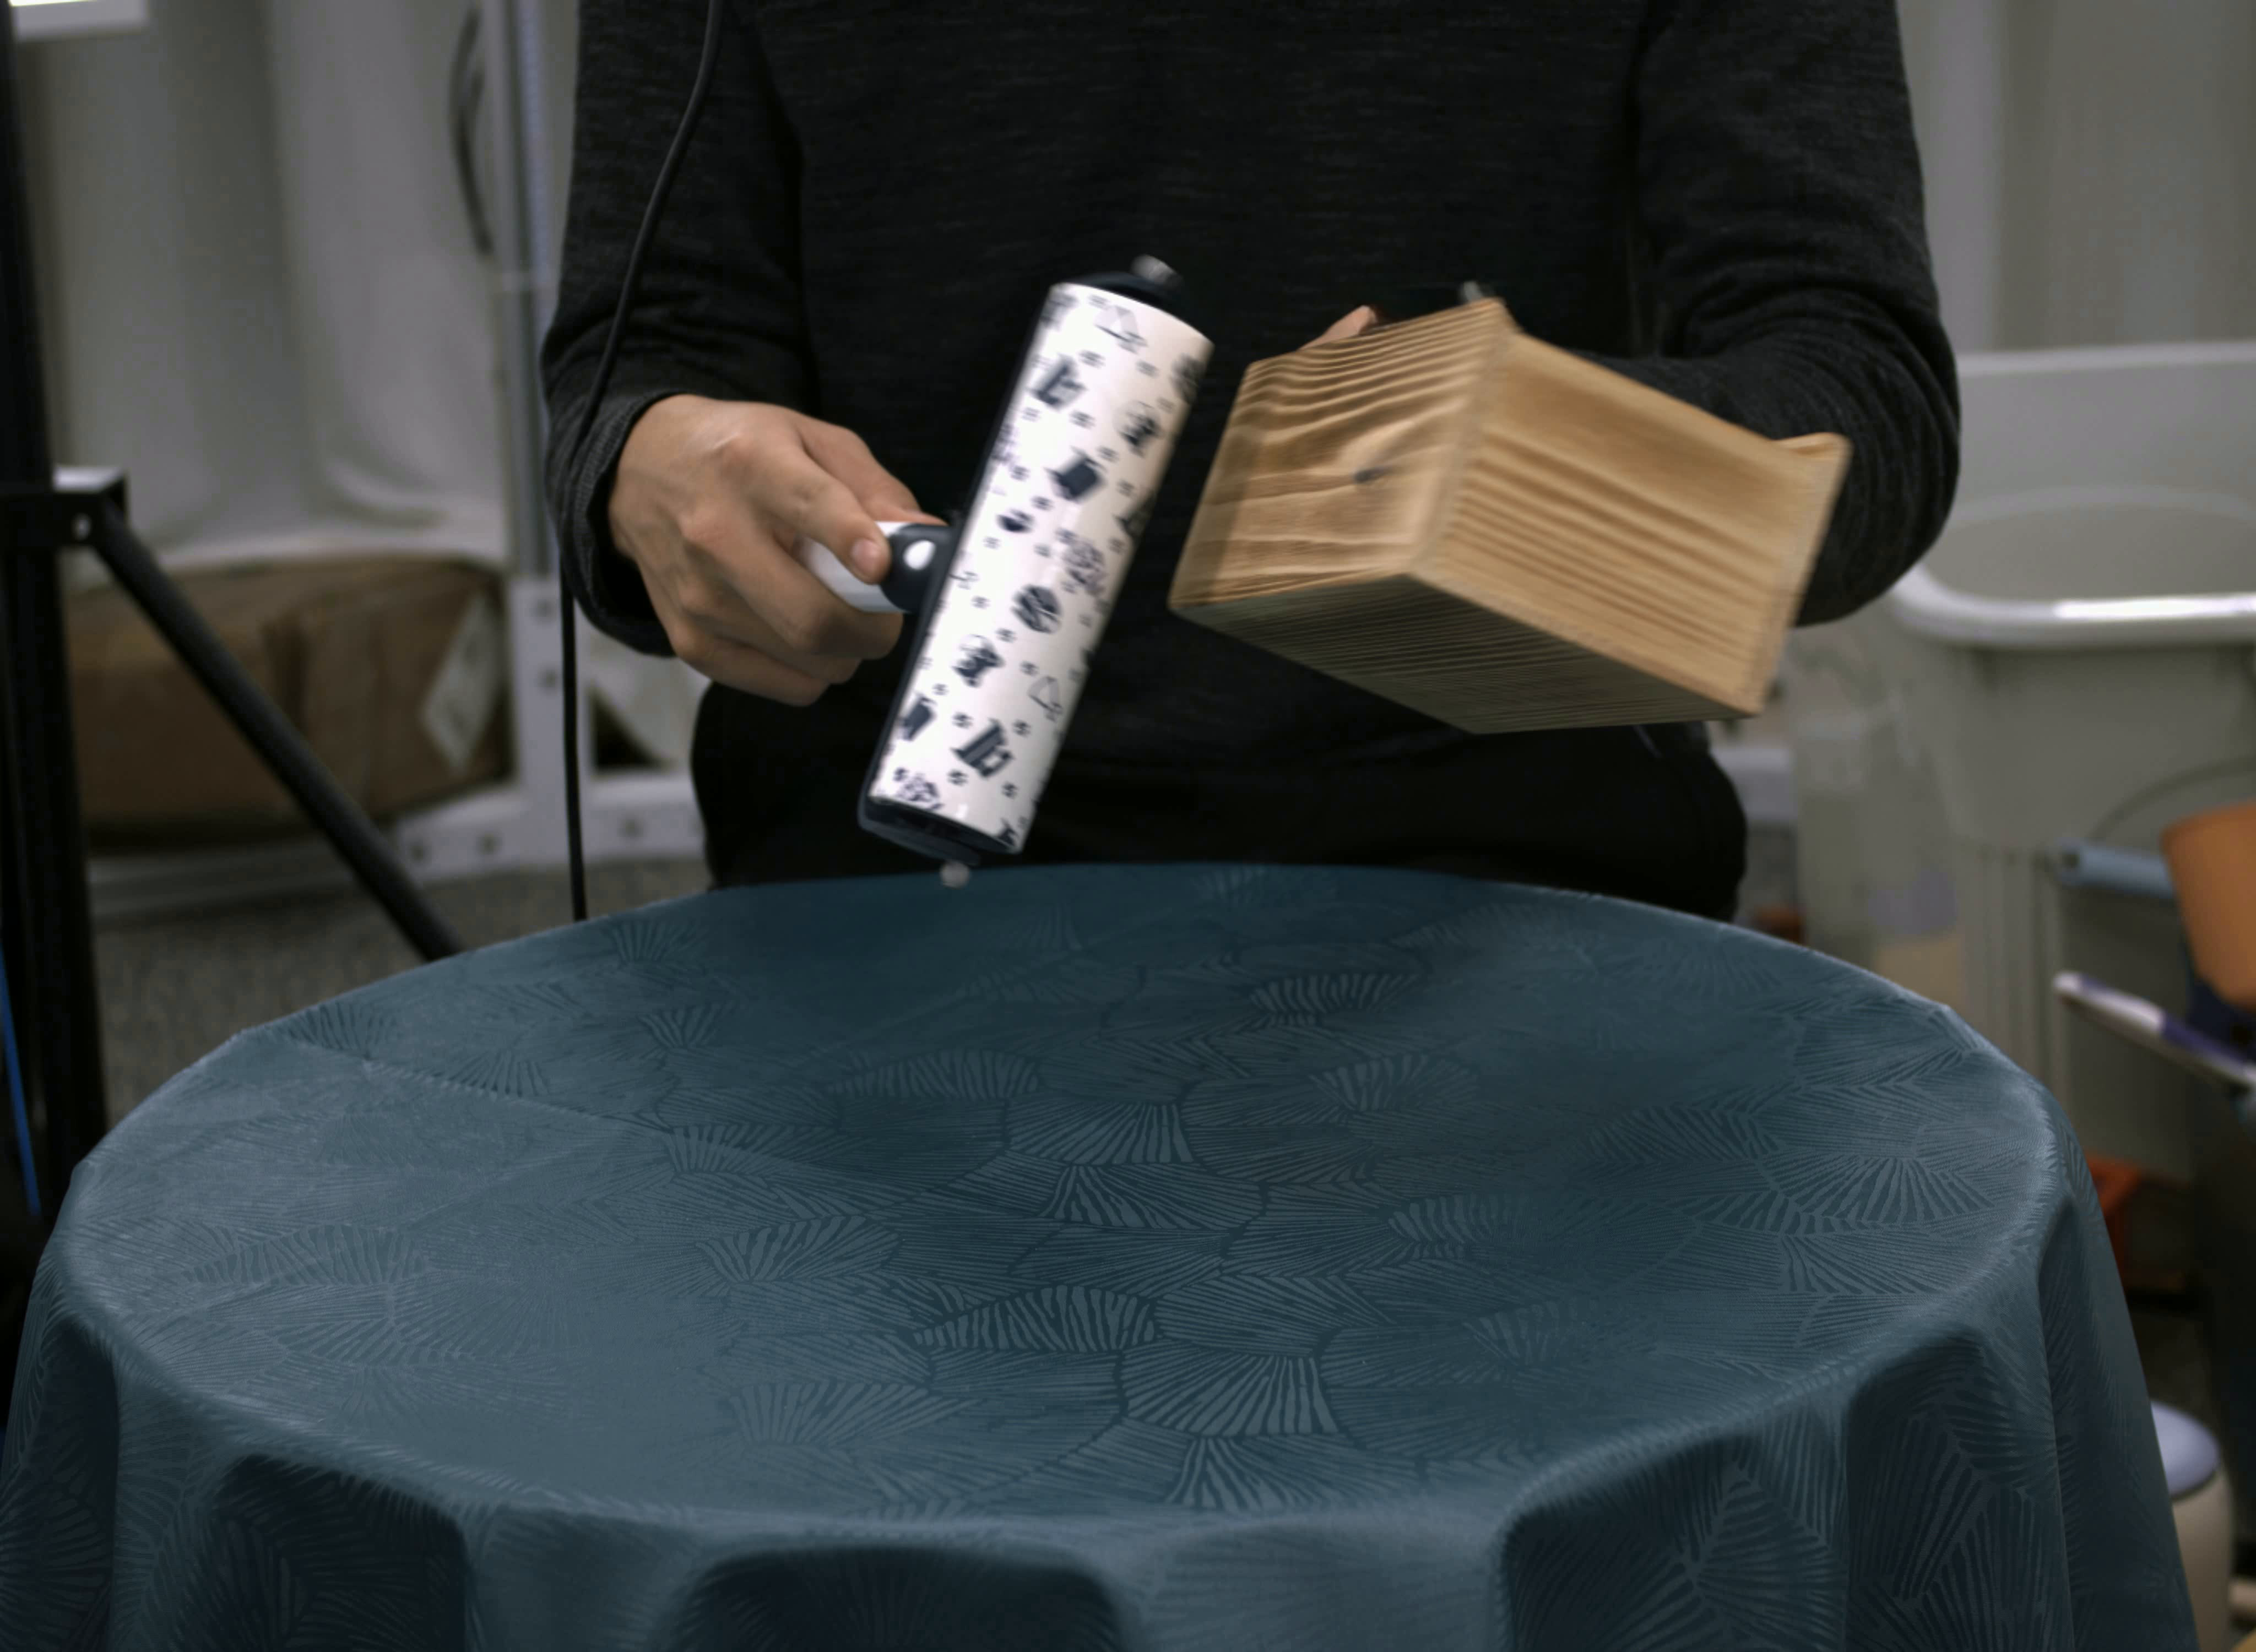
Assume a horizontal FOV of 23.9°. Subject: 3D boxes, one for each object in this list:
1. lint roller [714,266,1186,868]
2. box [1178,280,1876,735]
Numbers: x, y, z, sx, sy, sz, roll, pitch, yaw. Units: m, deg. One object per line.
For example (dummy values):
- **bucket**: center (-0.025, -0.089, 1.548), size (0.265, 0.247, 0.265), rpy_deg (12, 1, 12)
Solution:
- **lint roller**: center (-0.076, -0.079, 1.630), size (0.049, 0.177, 0.252), rpy_deg (20, -7, -28)
- **box**: center (0.105, -0.083, 1.477), size (0.106, 0.080, 0.214), rpy_deg (23, -7, -16)
